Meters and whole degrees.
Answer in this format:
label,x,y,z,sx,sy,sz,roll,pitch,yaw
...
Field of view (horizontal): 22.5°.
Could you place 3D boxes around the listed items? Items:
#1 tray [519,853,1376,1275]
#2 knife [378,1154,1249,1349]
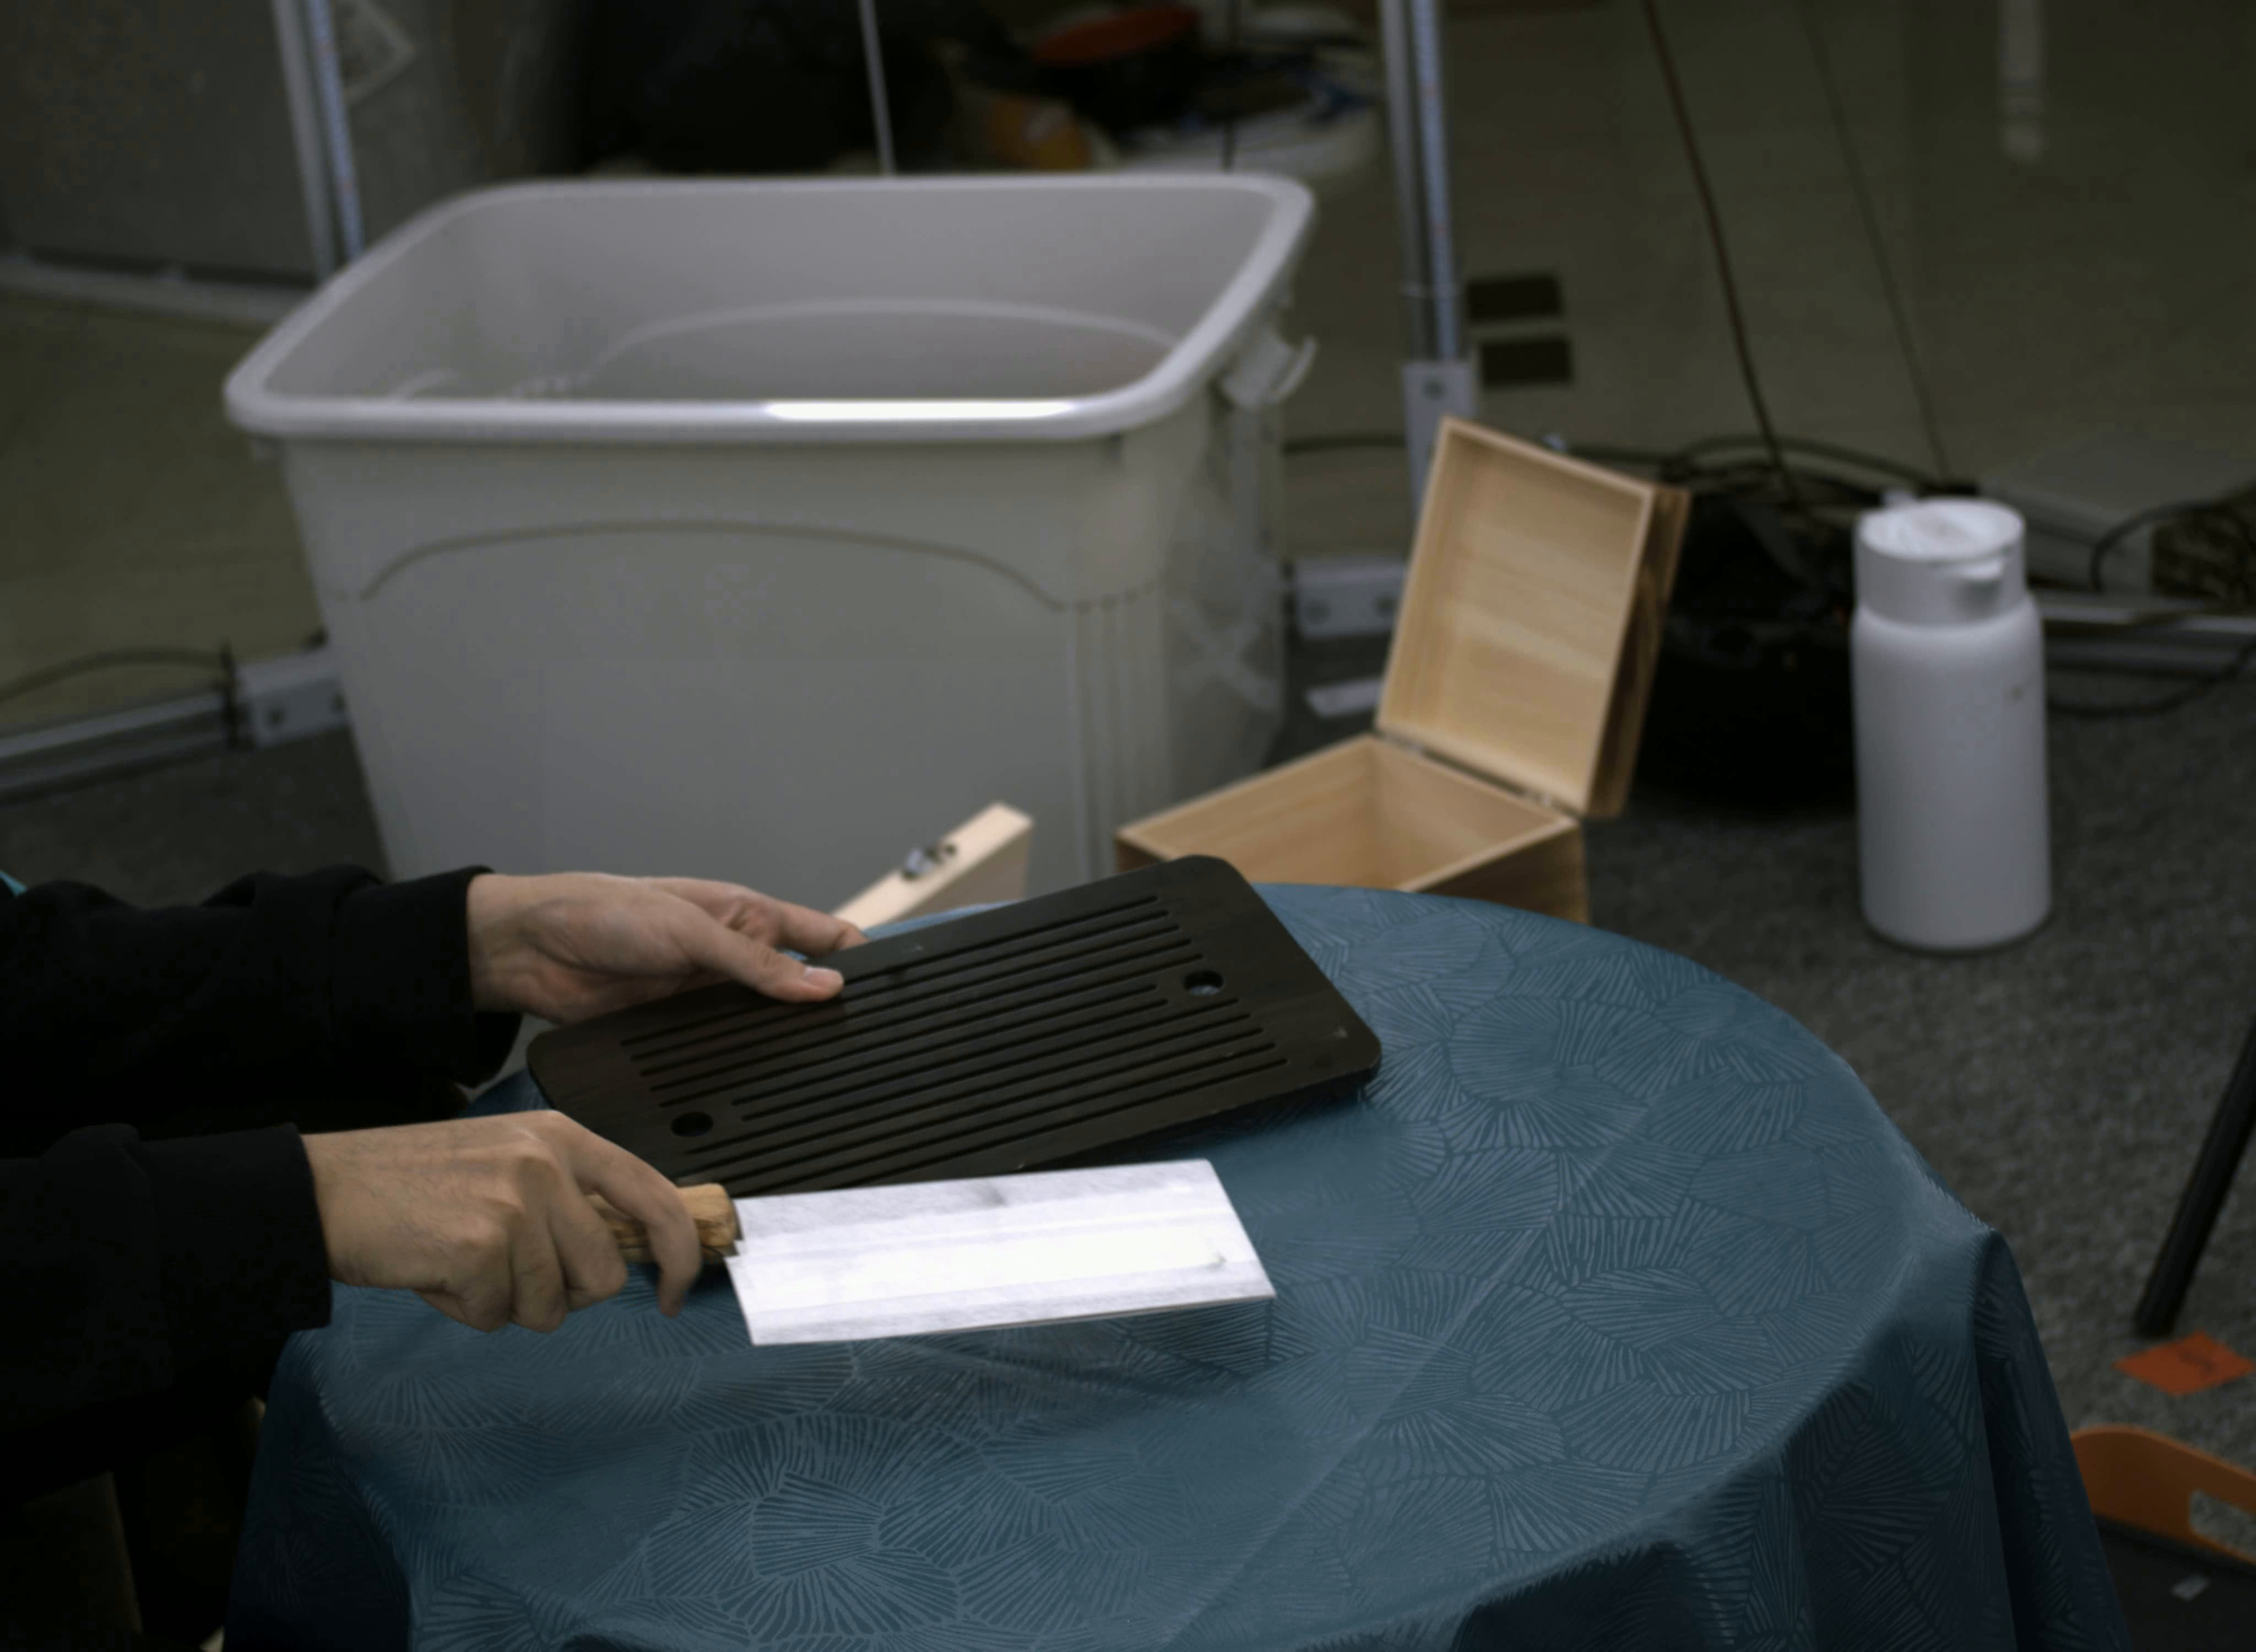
label,x,y,z,sx,sy,sz,roll,pitch,yaw
tray,-0.071,0.092,2.215,0.305,0.019,0.167,-15,35,-18
knife,-0.108,0.153,2.006,0.305,0.021,0.091,-4,32,-15
